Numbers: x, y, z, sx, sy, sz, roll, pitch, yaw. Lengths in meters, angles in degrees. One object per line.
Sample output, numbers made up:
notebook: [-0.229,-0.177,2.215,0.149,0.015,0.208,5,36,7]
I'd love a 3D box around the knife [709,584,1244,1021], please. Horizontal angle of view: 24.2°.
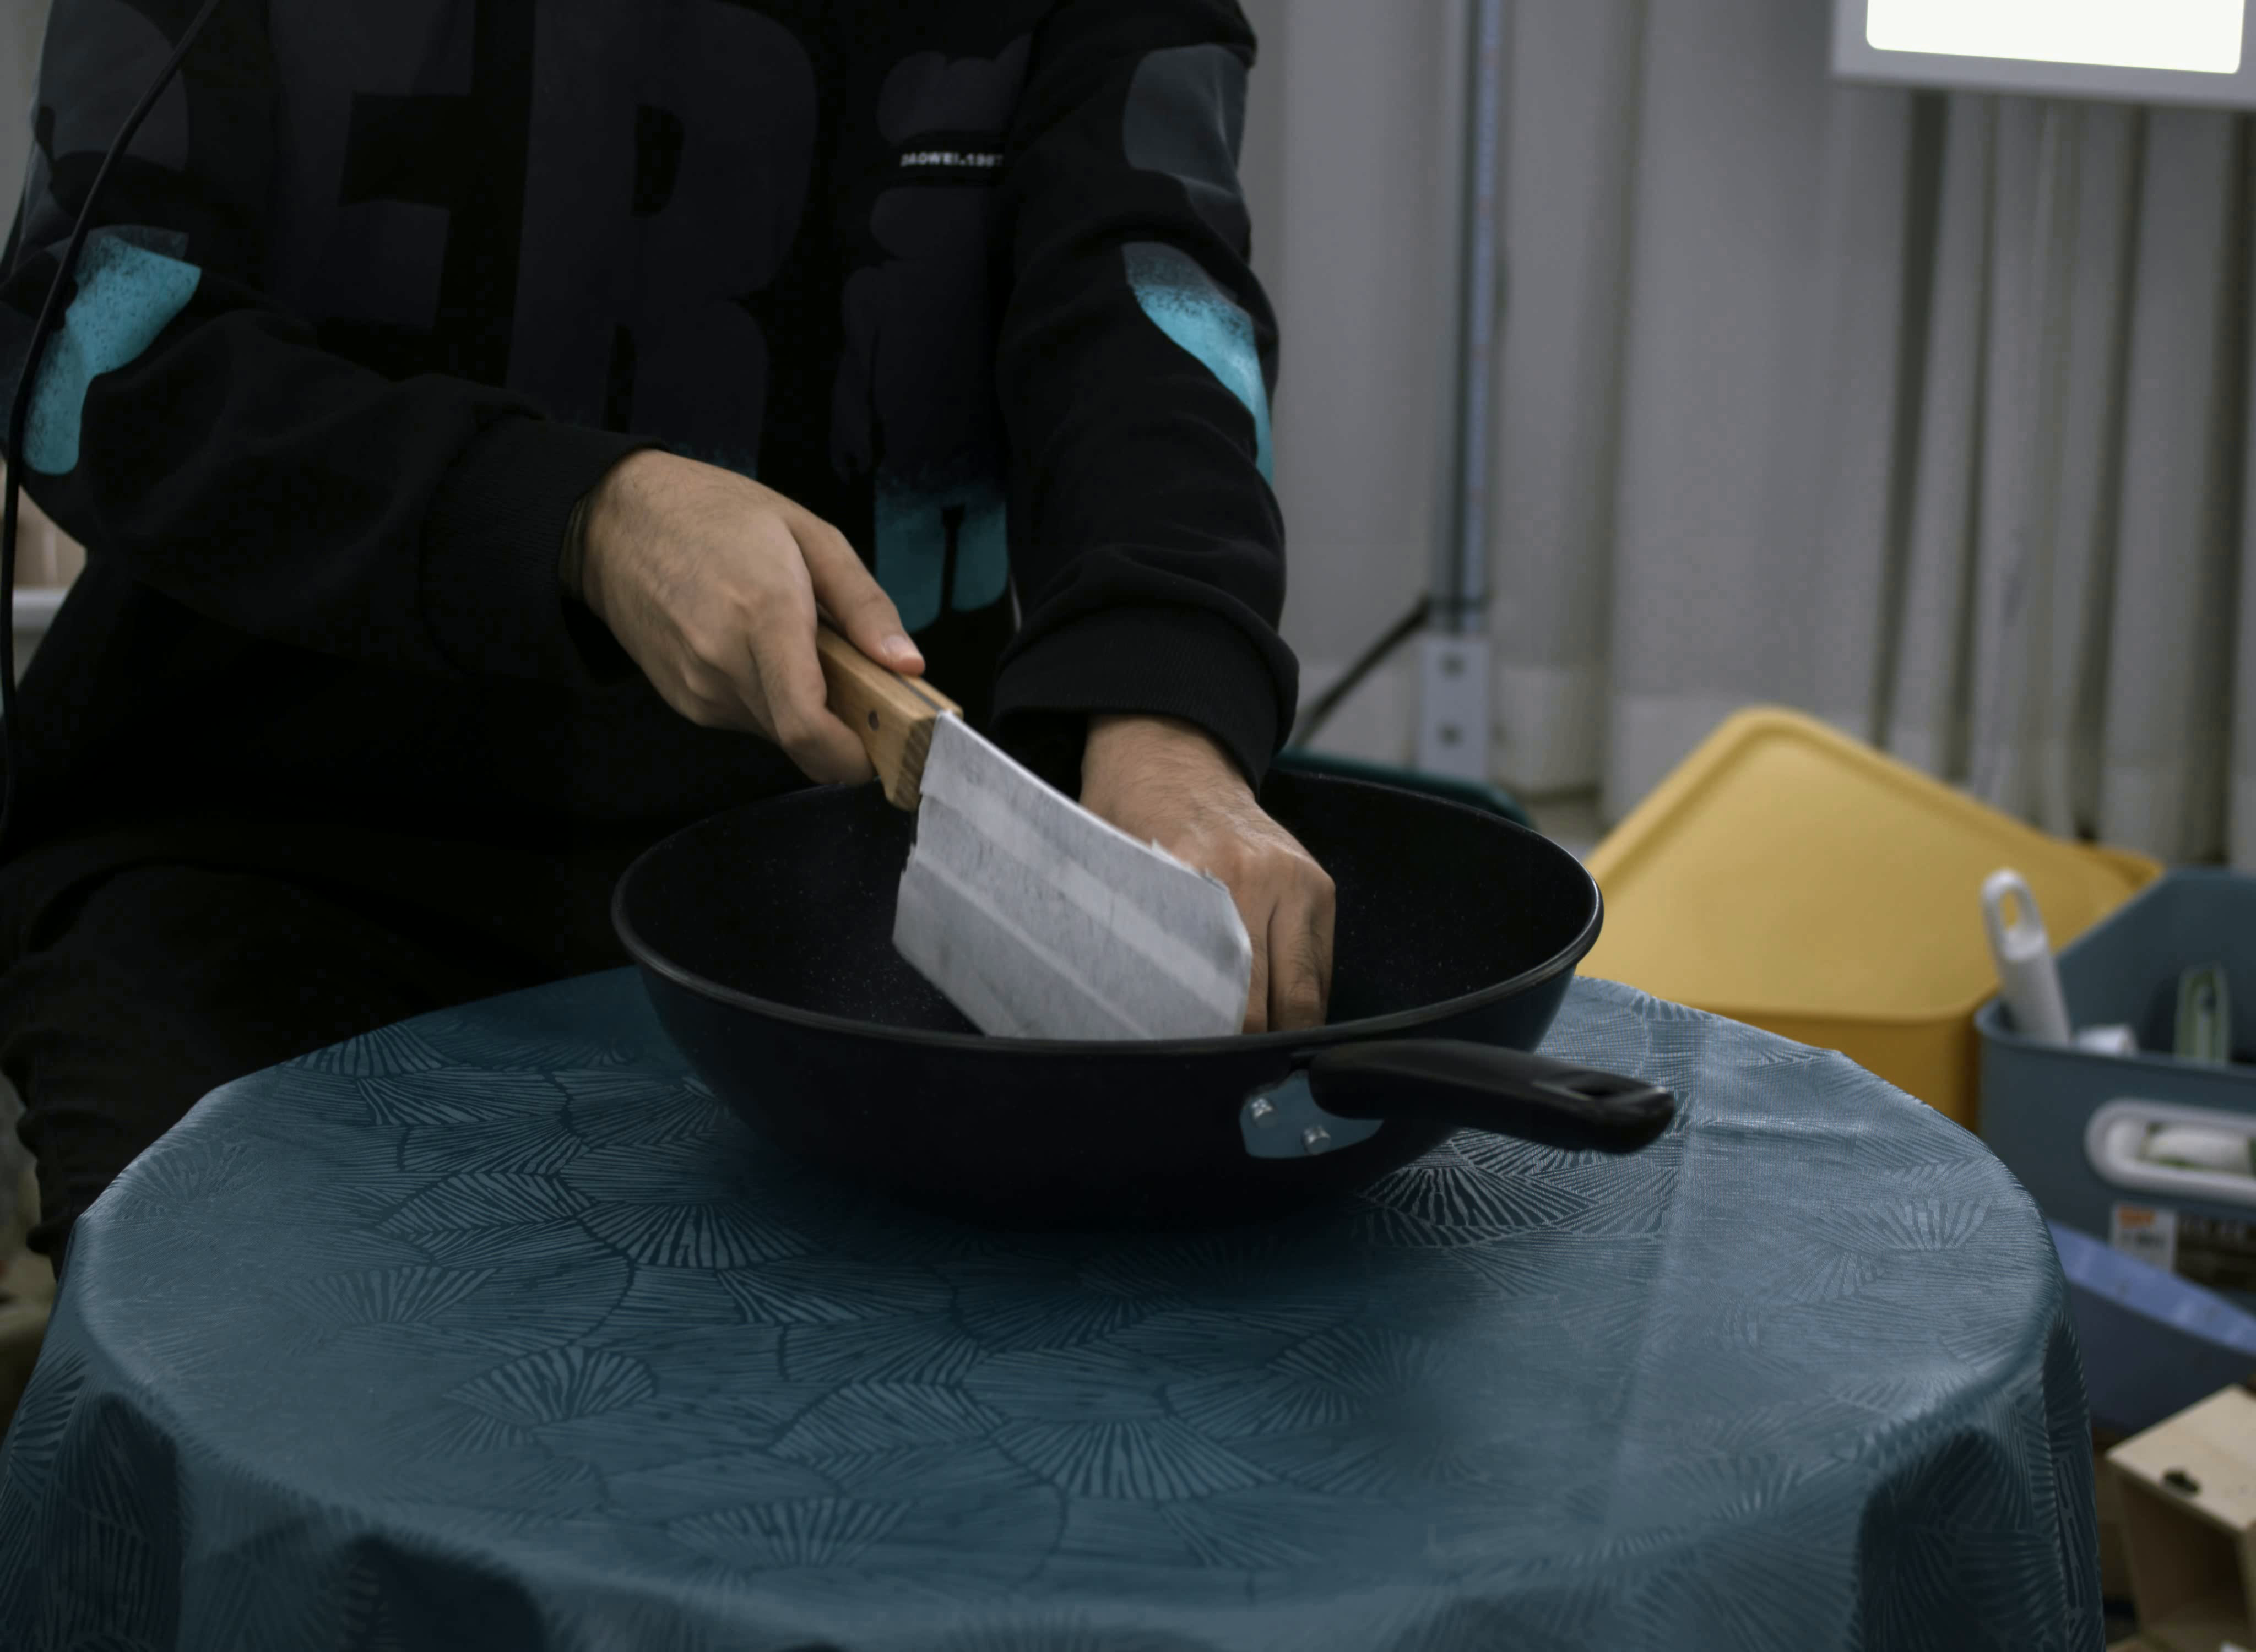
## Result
knife: [-0.049,0.001,1.655,0.022,0.115,0.311,-7,32,-34]

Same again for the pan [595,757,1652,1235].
pan: [0.025,0.069,1.581,0.311,0.112,0.471,-9,18,-25]
